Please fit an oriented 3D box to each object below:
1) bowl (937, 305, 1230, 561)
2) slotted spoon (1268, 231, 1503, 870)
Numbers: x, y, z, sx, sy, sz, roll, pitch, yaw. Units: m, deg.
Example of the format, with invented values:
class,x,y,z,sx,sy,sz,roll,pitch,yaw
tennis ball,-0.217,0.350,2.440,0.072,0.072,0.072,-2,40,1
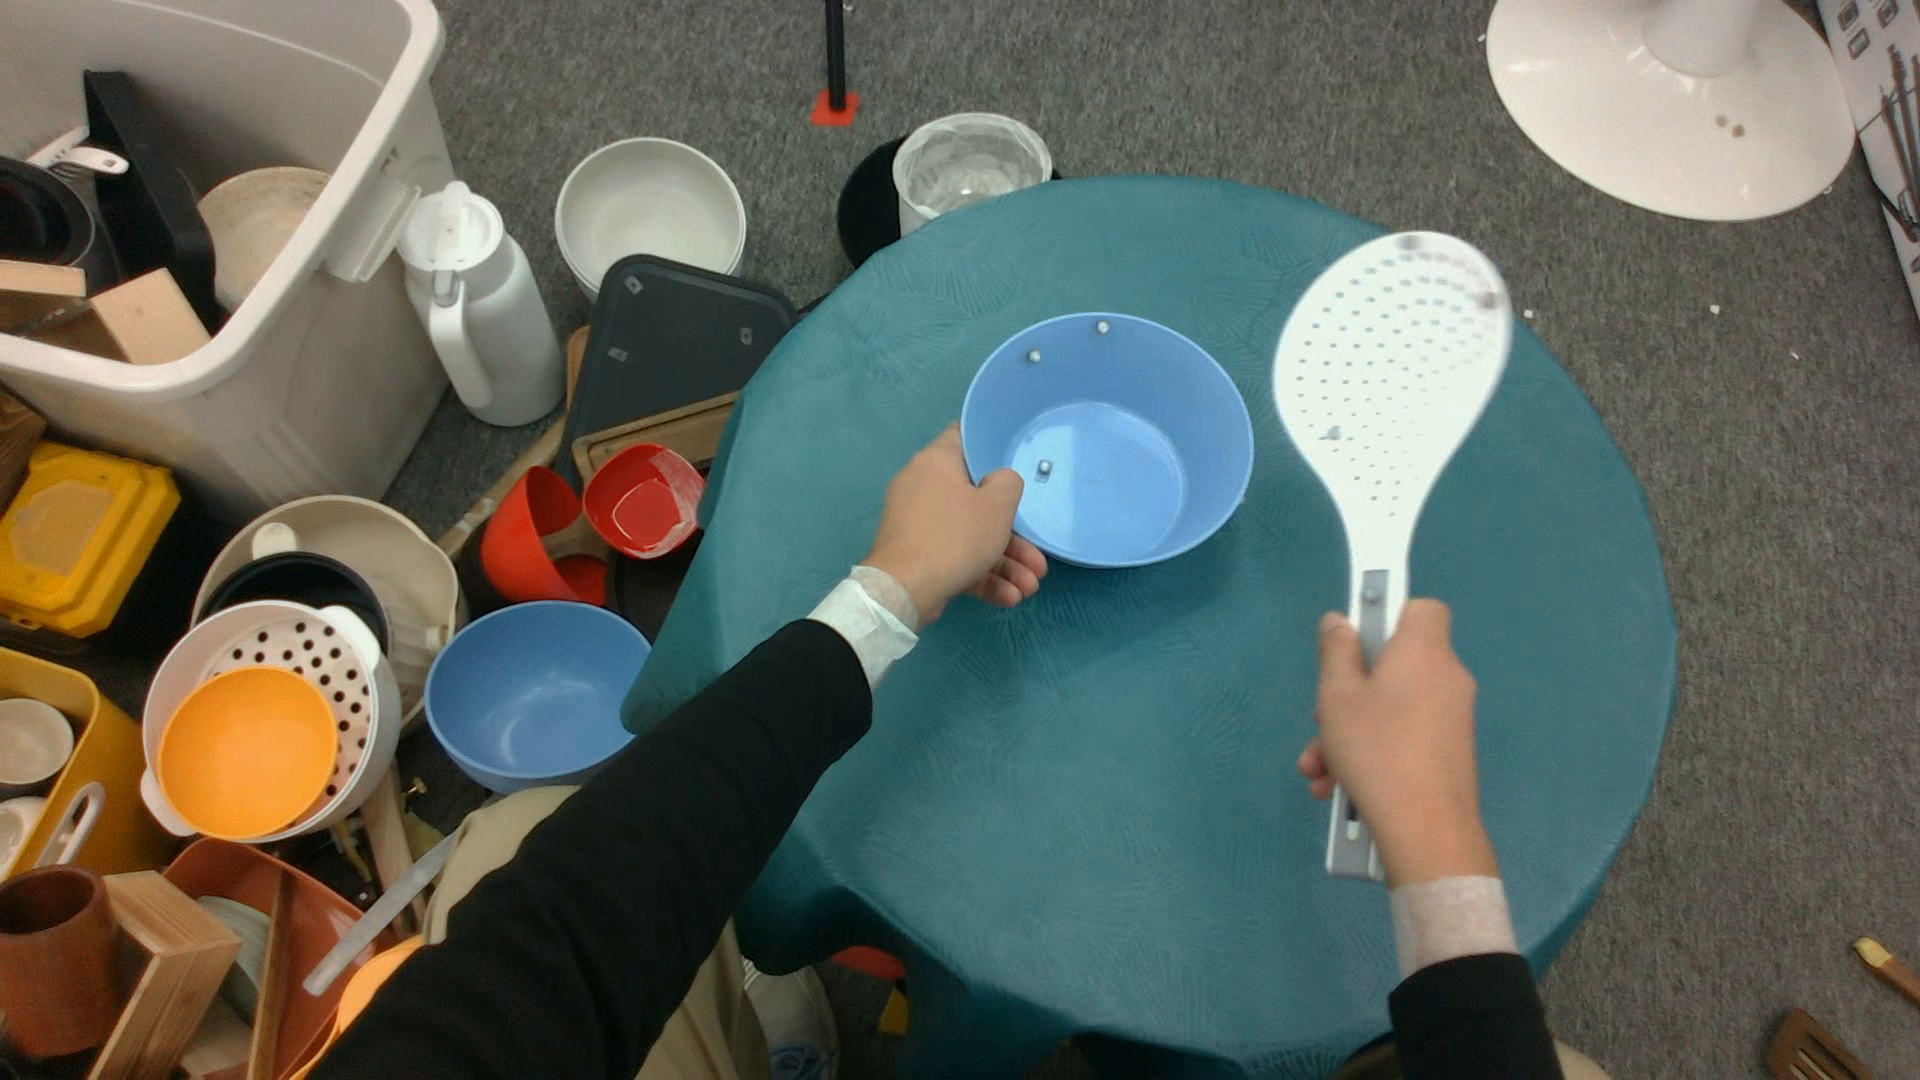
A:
class,x,y,z,sx,sy,sz,roll,pitch,yaw
bowl,0.072,-0.054,0.847,0.176,0.070,0.176,1,64,-3
slotted spoon,0.215,-0.003,0.730,0.135,0.046,0.351,-4,64,41
